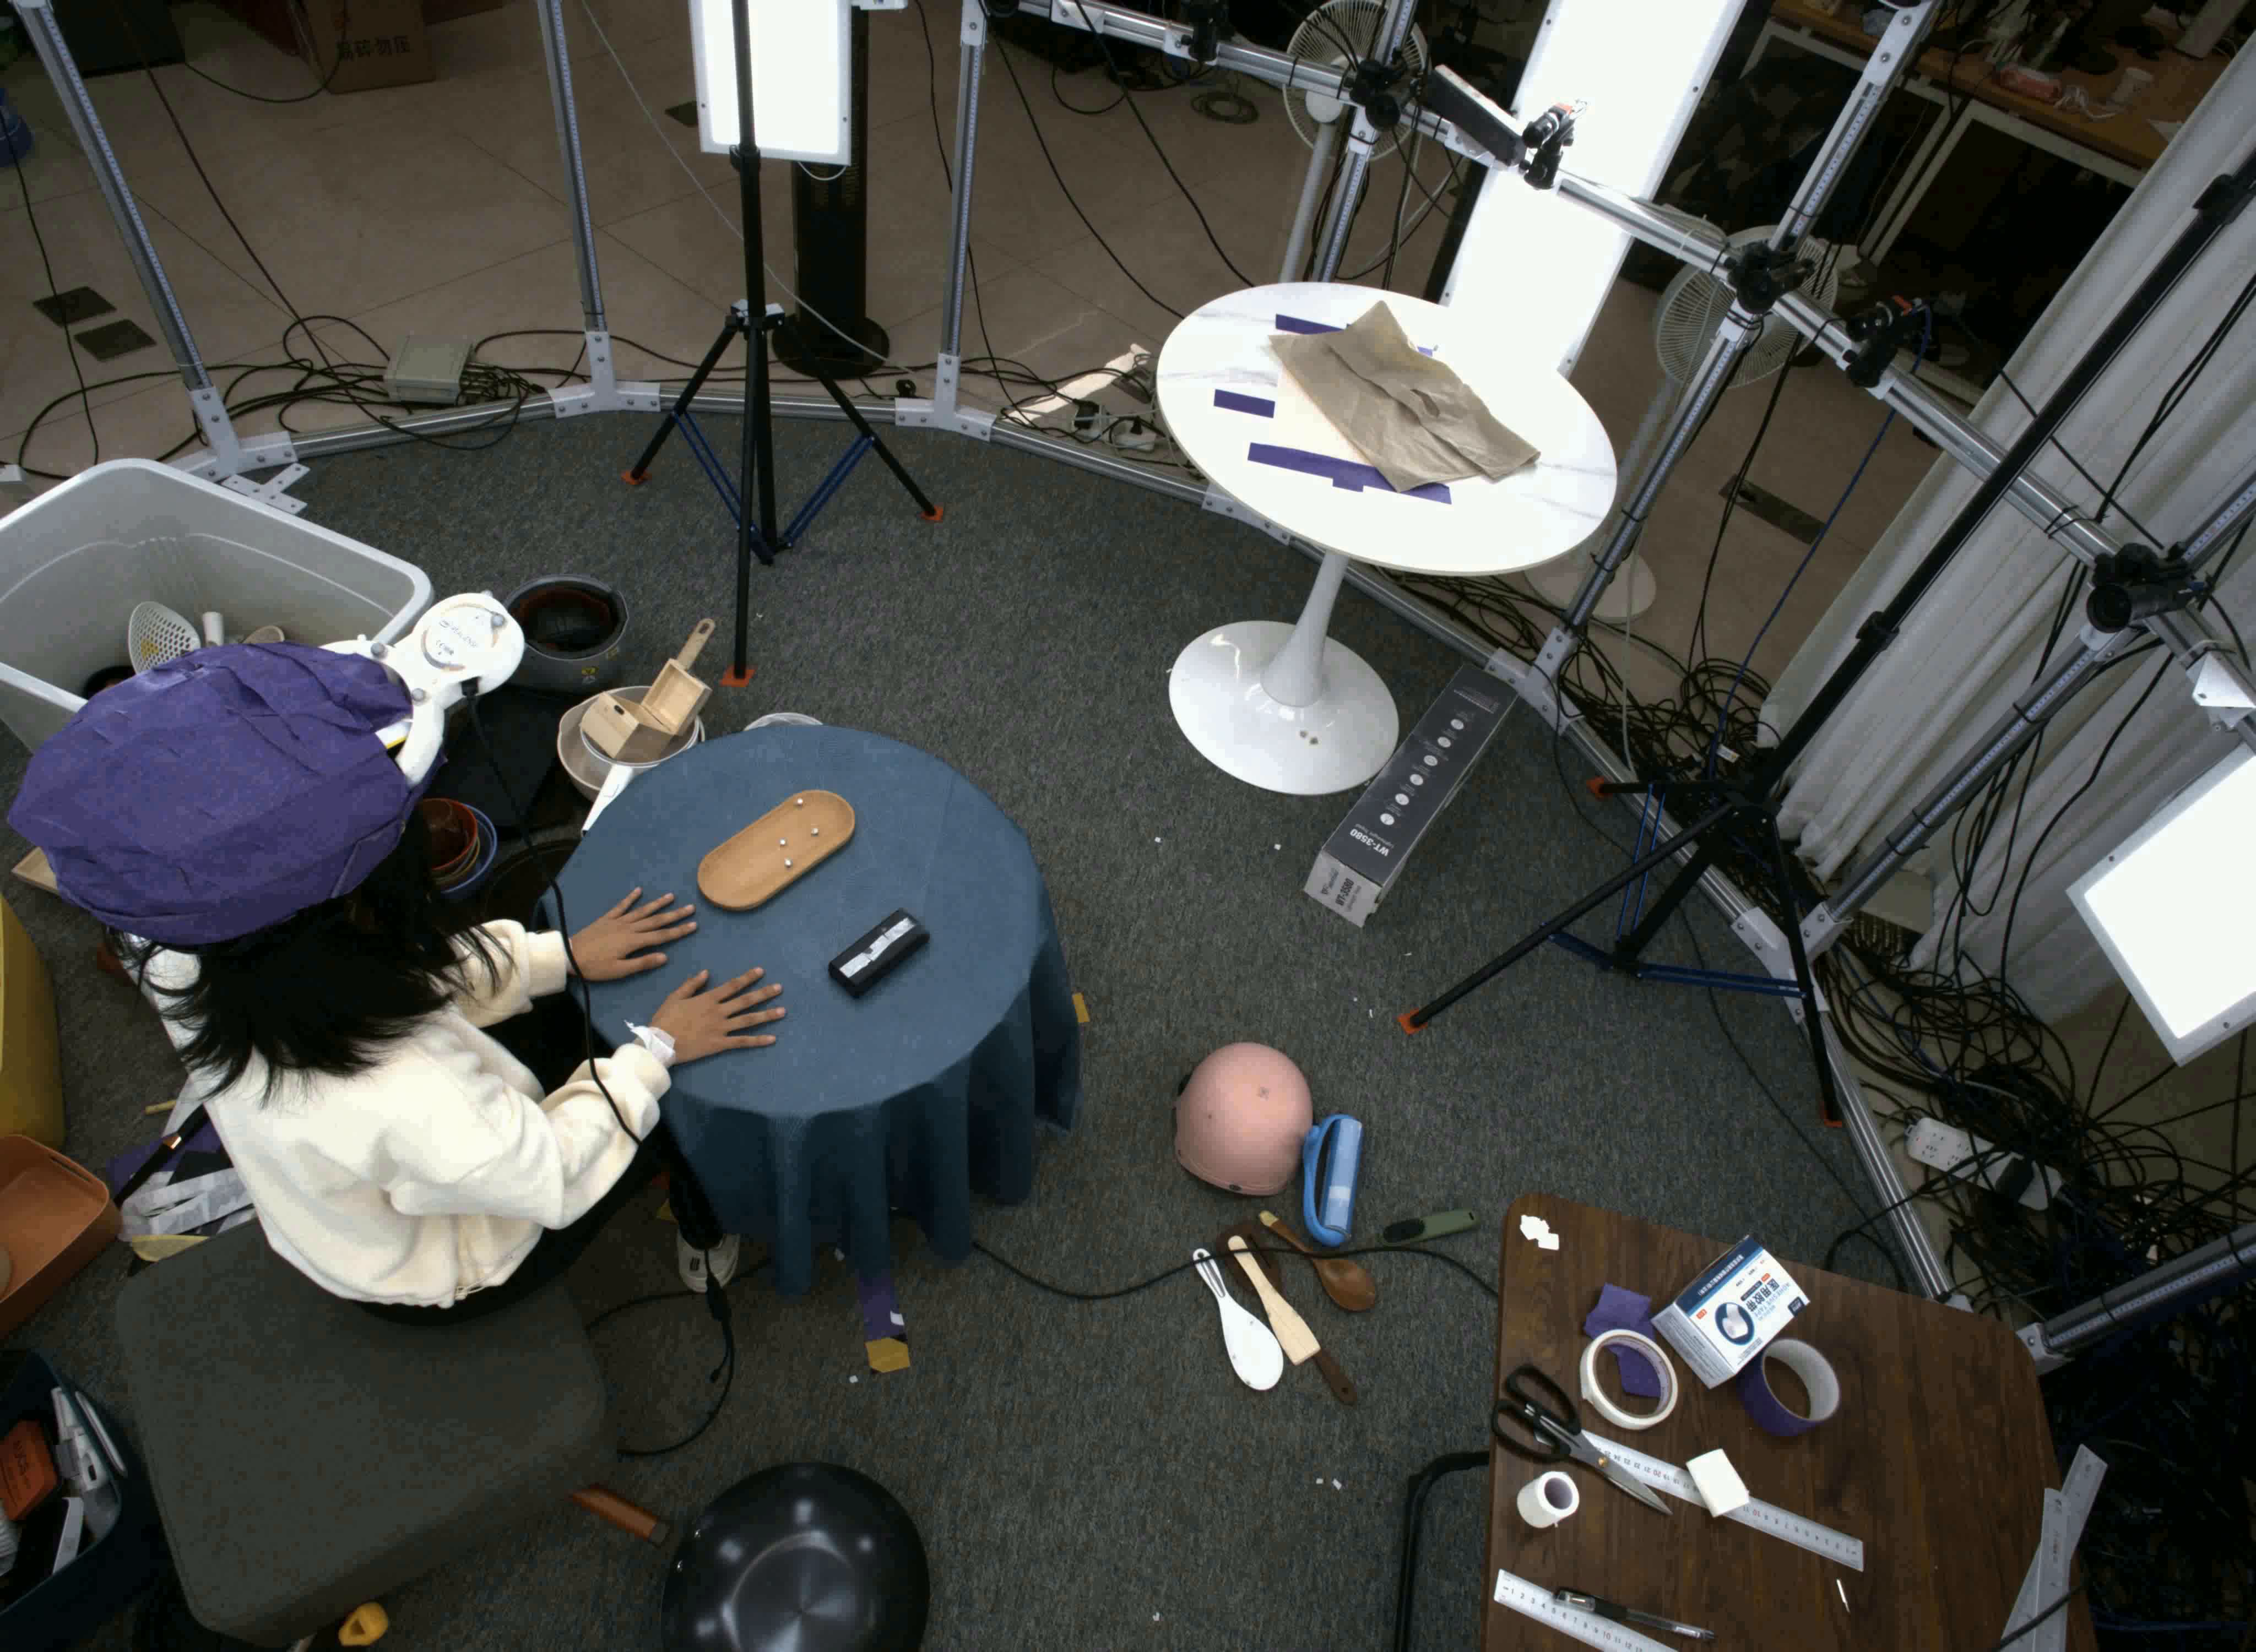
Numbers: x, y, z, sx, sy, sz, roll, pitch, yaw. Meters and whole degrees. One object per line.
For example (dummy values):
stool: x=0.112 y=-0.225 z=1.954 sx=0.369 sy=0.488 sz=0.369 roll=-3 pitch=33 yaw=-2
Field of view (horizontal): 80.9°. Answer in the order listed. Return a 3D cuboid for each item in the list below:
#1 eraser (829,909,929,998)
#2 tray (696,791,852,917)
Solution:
eraser: x=-0.308 y=0.154 z=1.615 sx=0.052 sy=0.031 sz=0.125 roll=34 pitch=51 yaw=20
tray: x=-0.456 y=0.033 z=1.676 sx=0.099 sy=0.021 sz=0.231 roll=37 pitch=55 yaw=14
